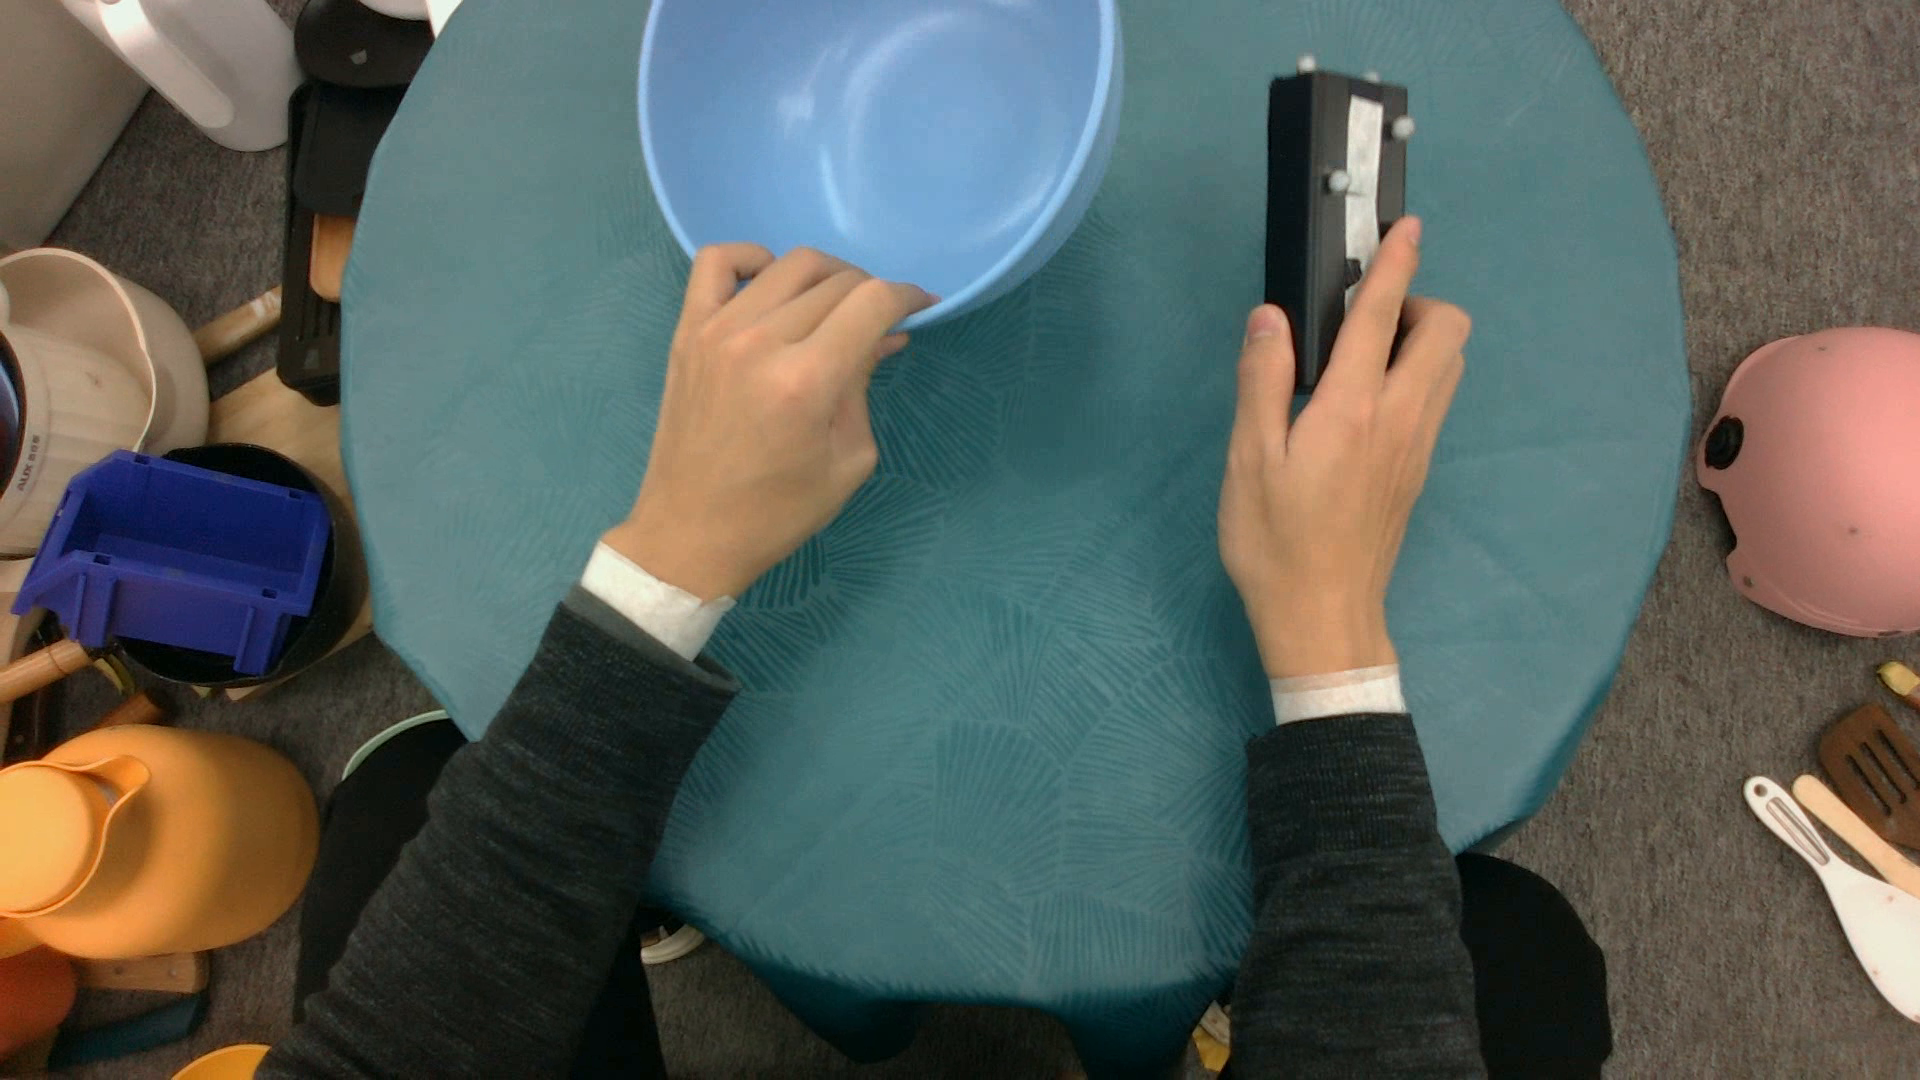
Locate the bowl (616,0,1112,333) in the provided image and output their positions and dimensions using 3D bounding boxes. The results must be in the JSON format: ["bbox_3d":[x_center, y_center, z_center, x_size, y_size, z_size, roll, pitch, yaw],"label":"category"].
[{"bbox_3d":[-0.026,-0.174,0.540,0.196,0.095,0.196,0,90,21],"label":"bowl"}]

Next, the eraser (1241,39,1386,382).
[{"bbox_3d":[0.135,-0.125,0.526,0.053,0.030,0.125,-9,102,-30],"label":"eraser"}]
